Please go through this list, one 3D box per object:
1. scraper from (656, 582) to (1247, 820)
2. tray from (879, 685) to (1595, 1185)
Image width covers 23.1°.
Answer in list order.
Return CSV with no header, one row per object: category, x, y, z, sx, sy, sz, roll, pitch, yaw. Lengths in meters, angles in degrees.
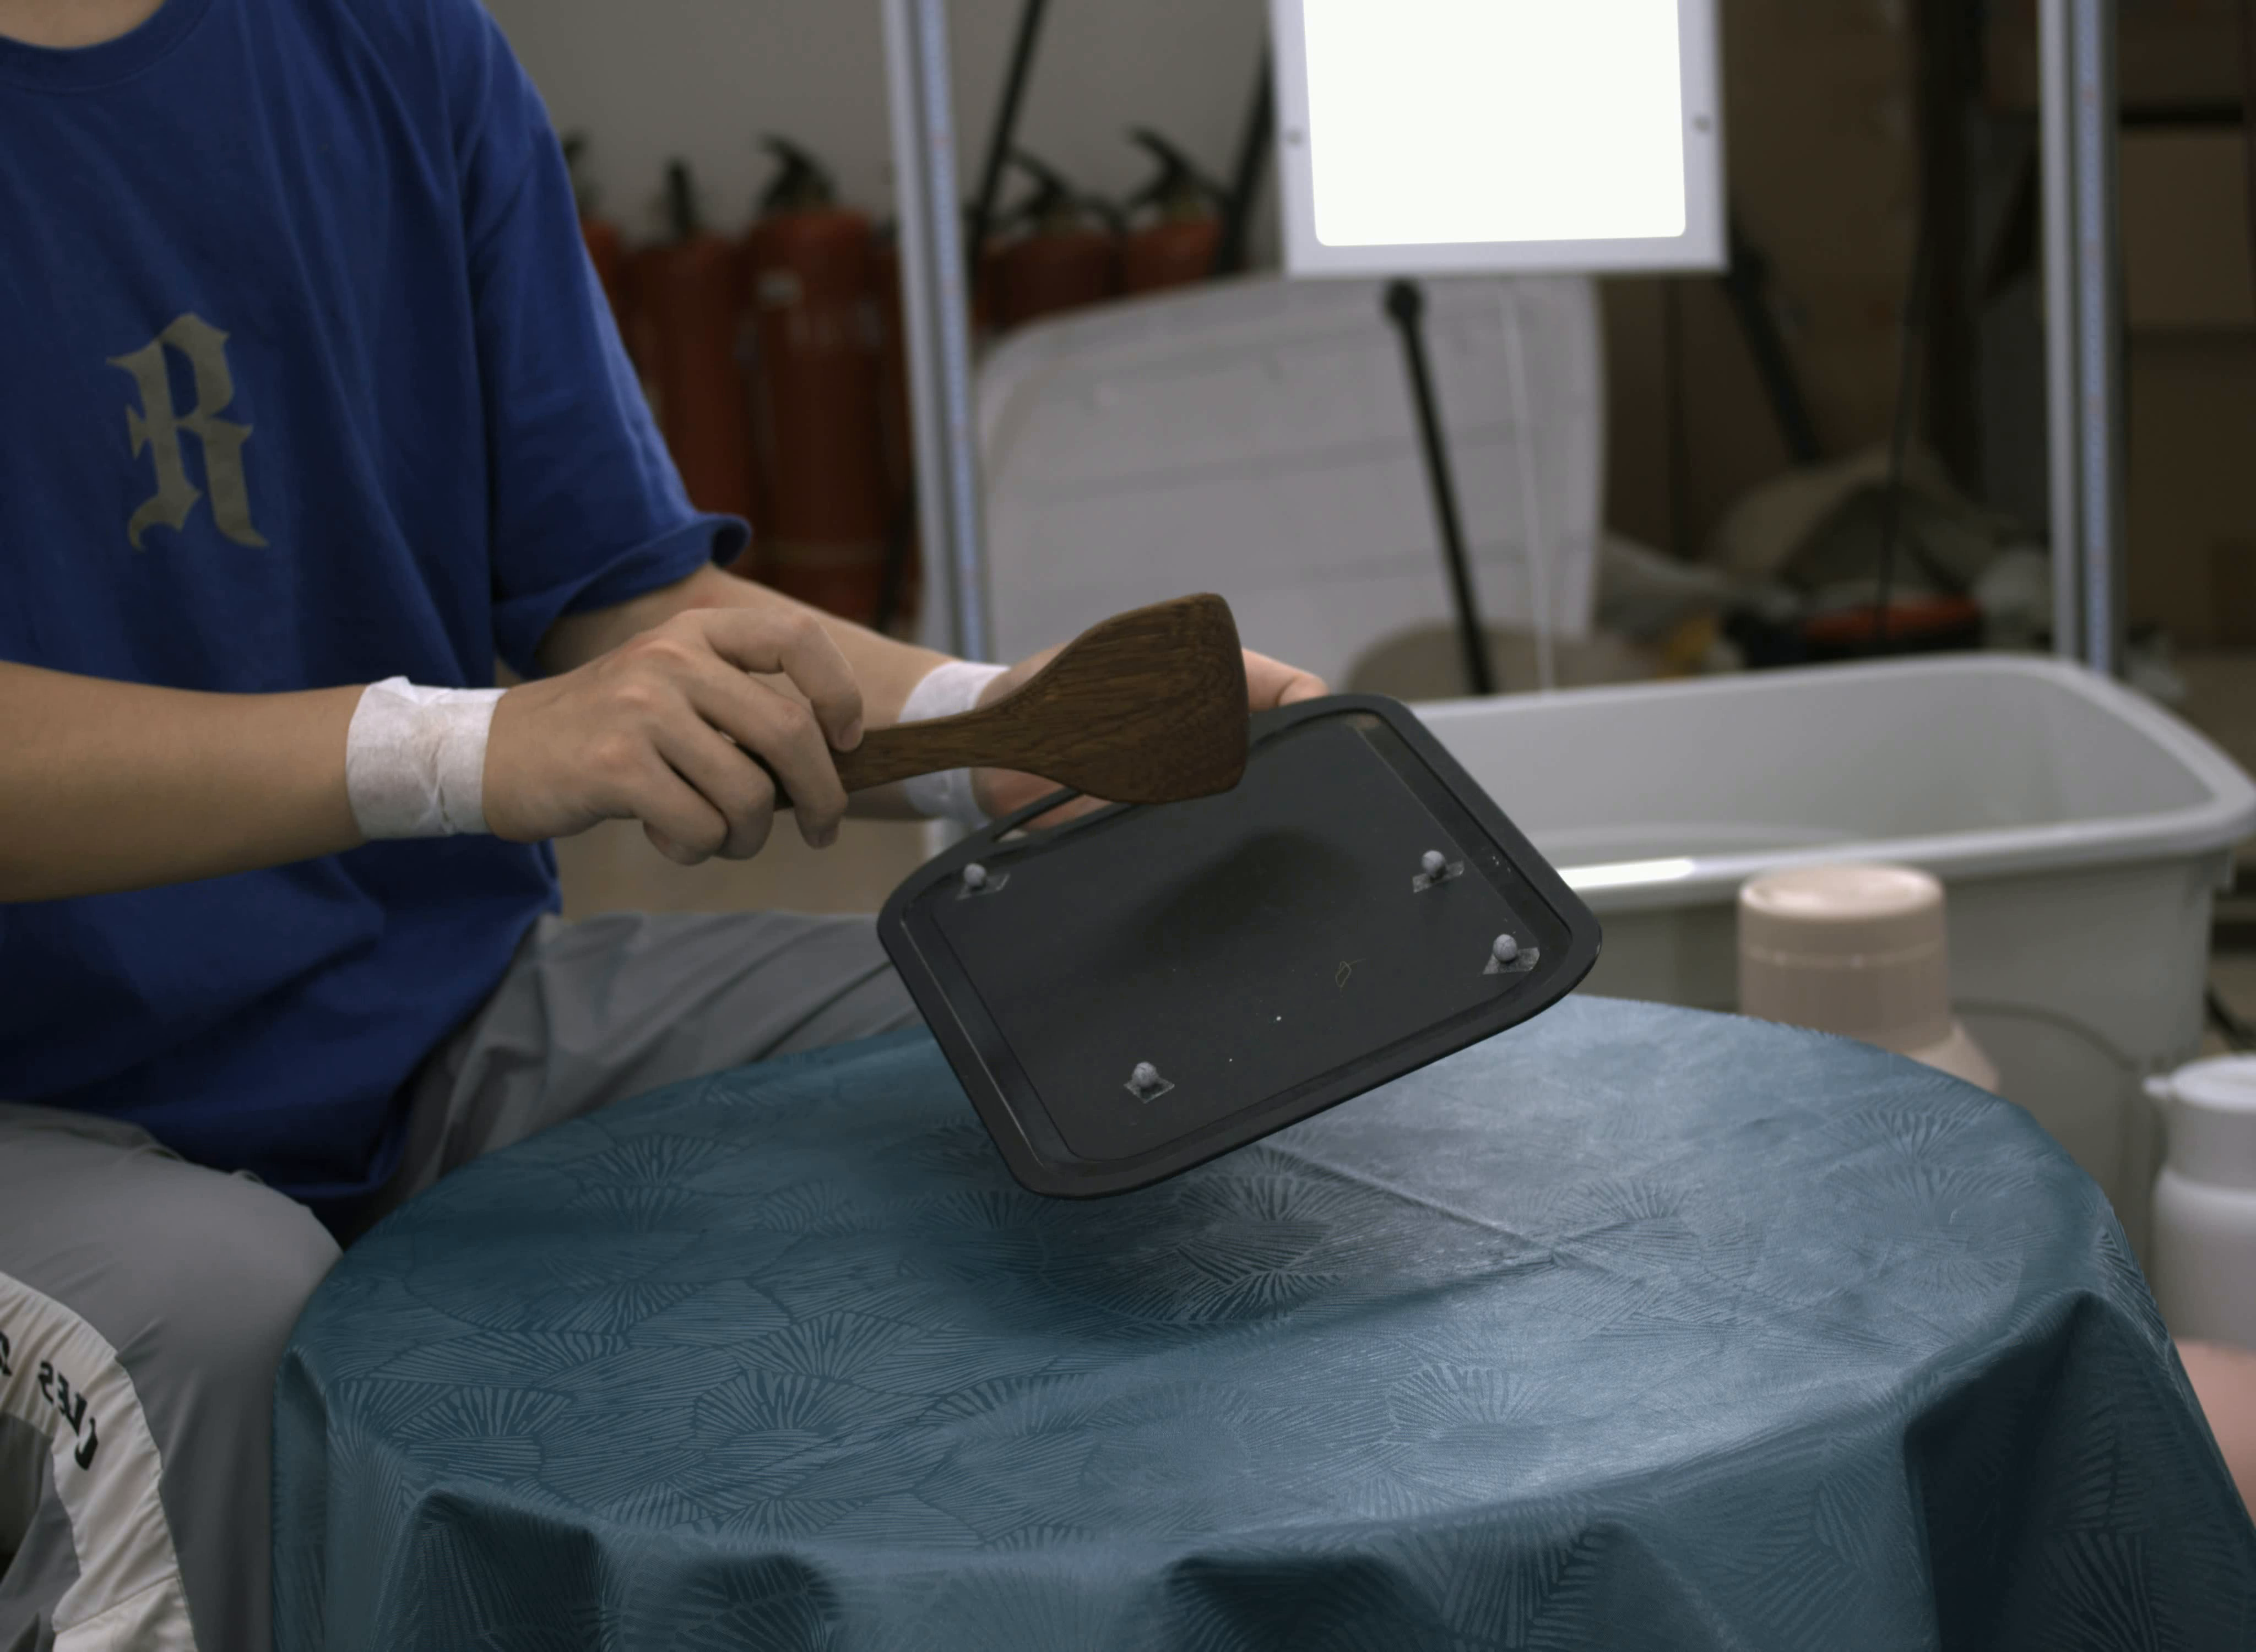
scraper,-0.060,-0.032,1.916,0.209,0.076,0.011,-10,17,-7
tray,0.028,0.028,1.897,0.210,0.010,0.327,-24,24,-4
